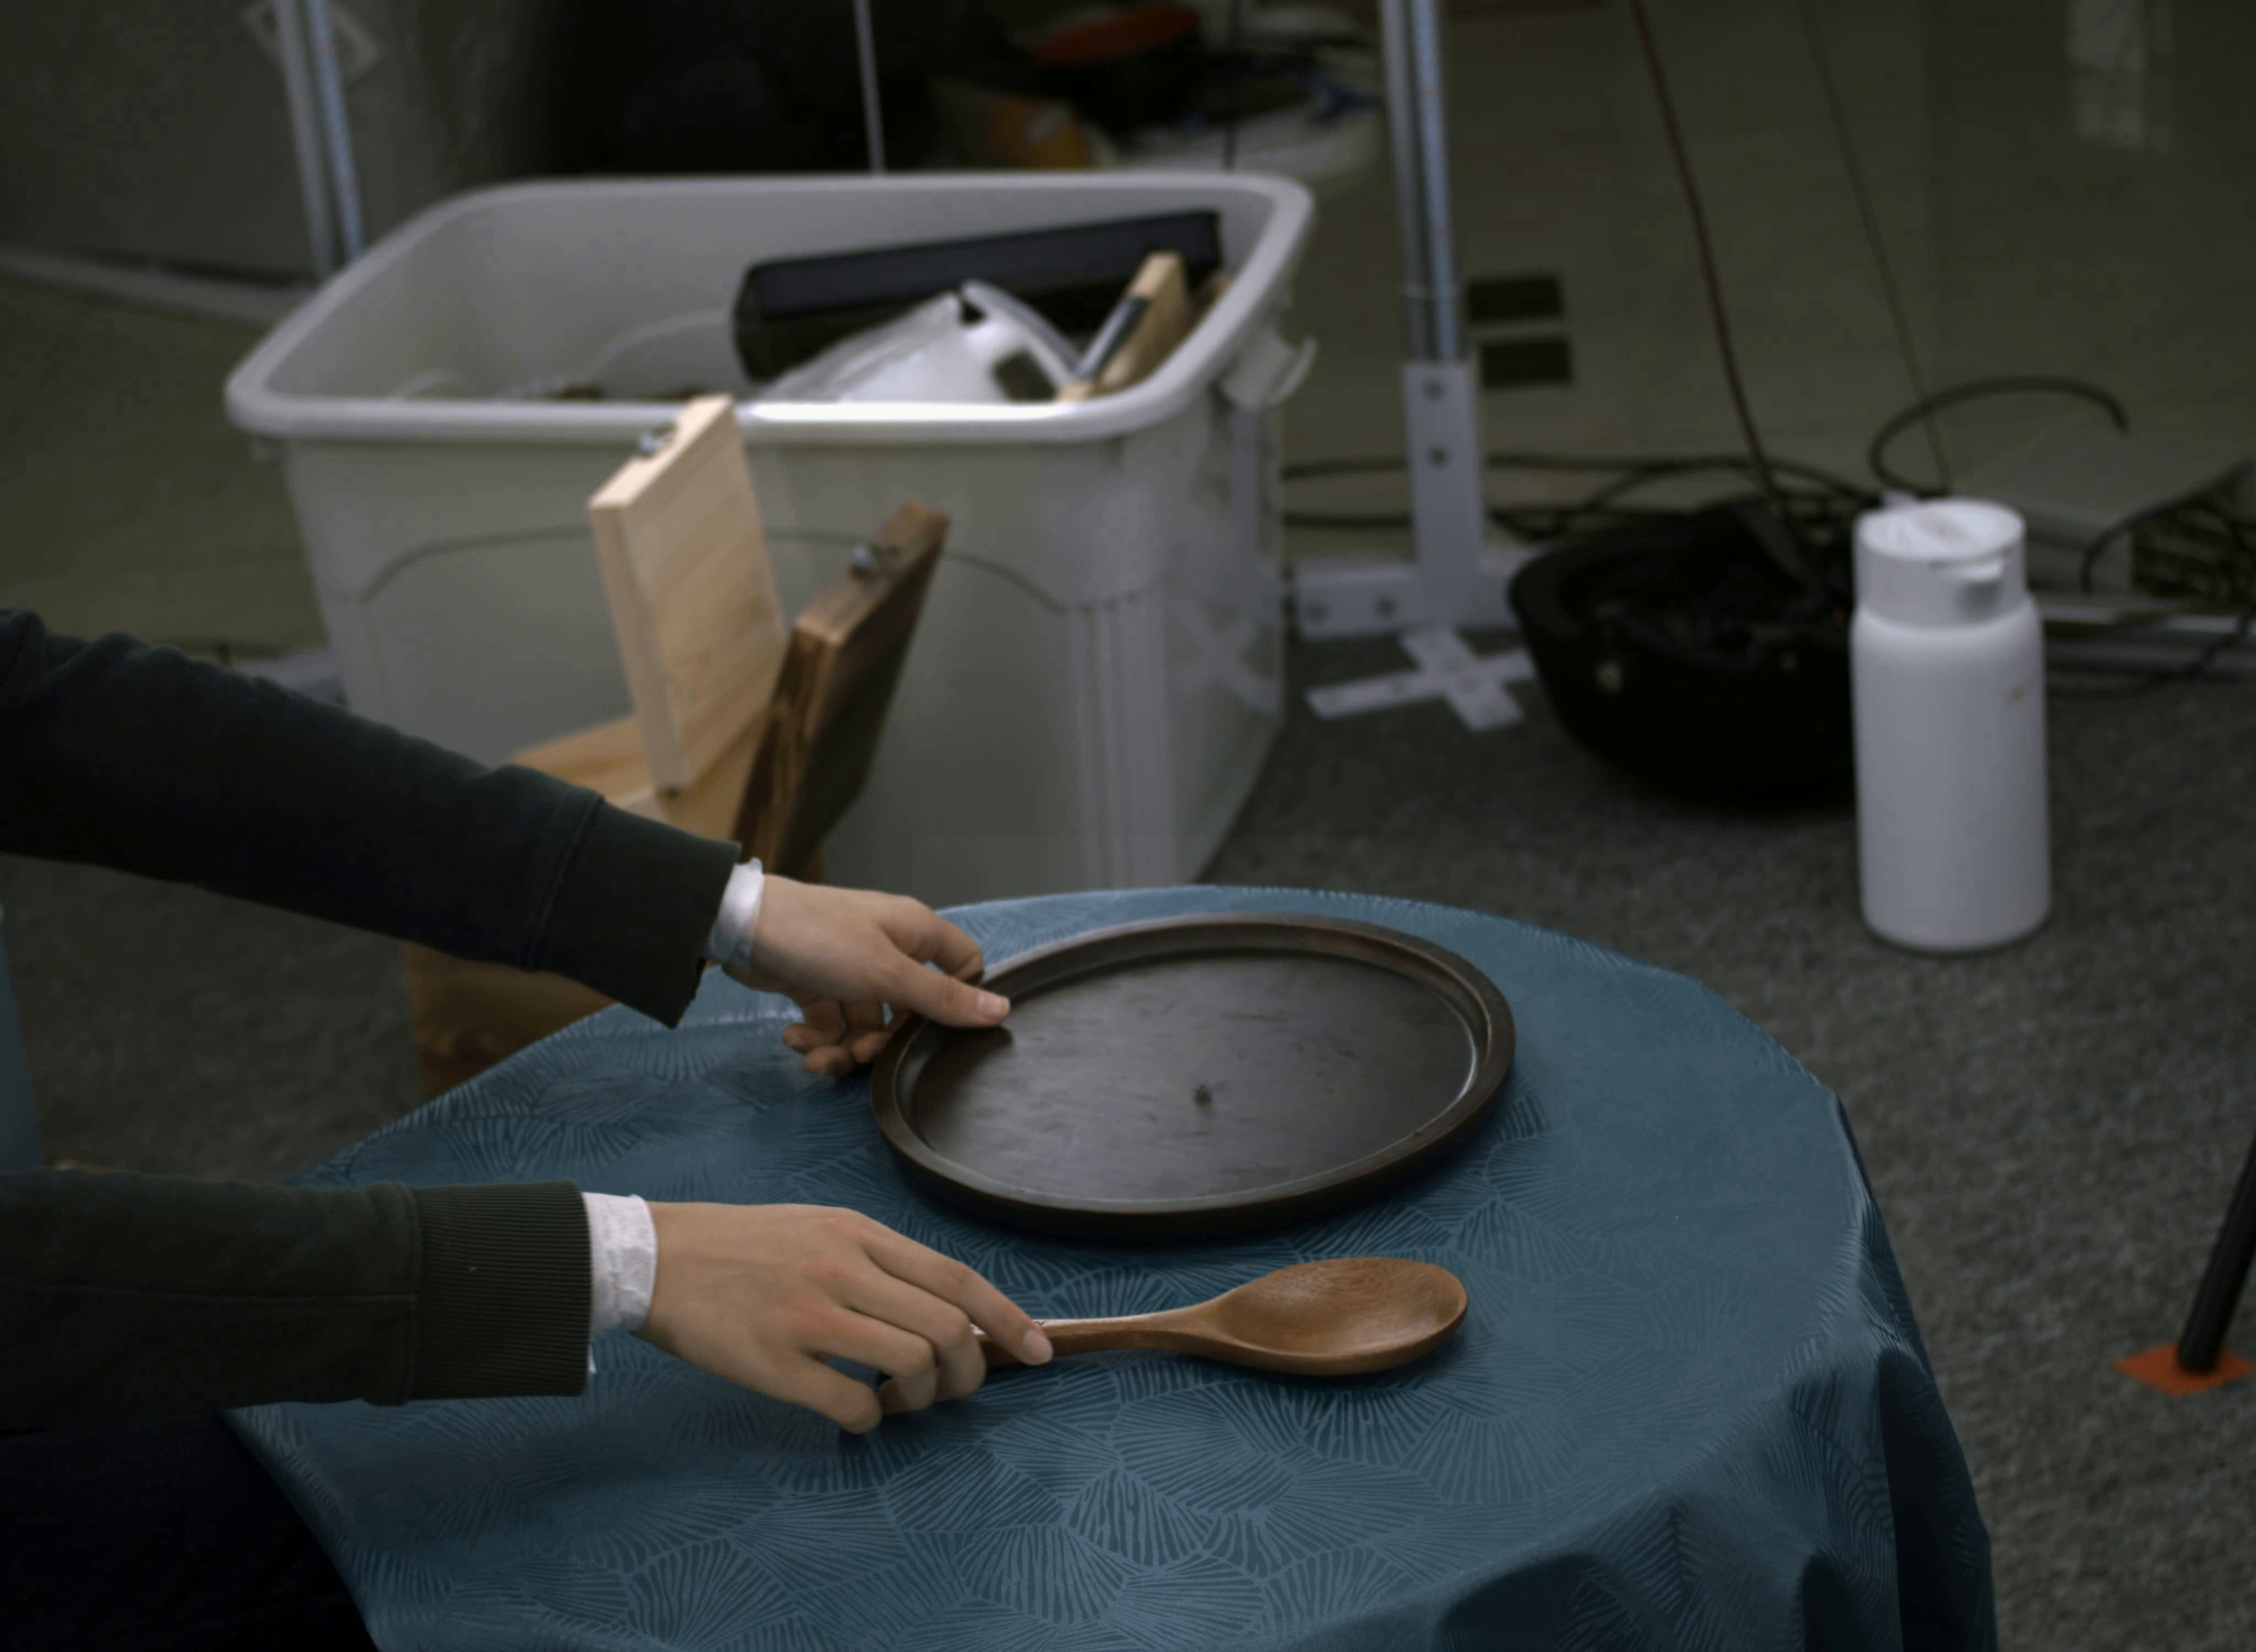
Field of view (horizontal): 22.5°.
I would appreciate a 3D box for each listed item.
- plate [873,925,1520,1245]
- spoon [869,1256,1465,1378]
[{"bbox_3d":[0.026,0.099,2.207,0.254,0.029,0.251,-4,24,2],"label":"plate"},{"bbox_3d":[0.014,0.182,2.037,0.215,0.017,0.074,-4,25,5],"label":"spoon"}]
